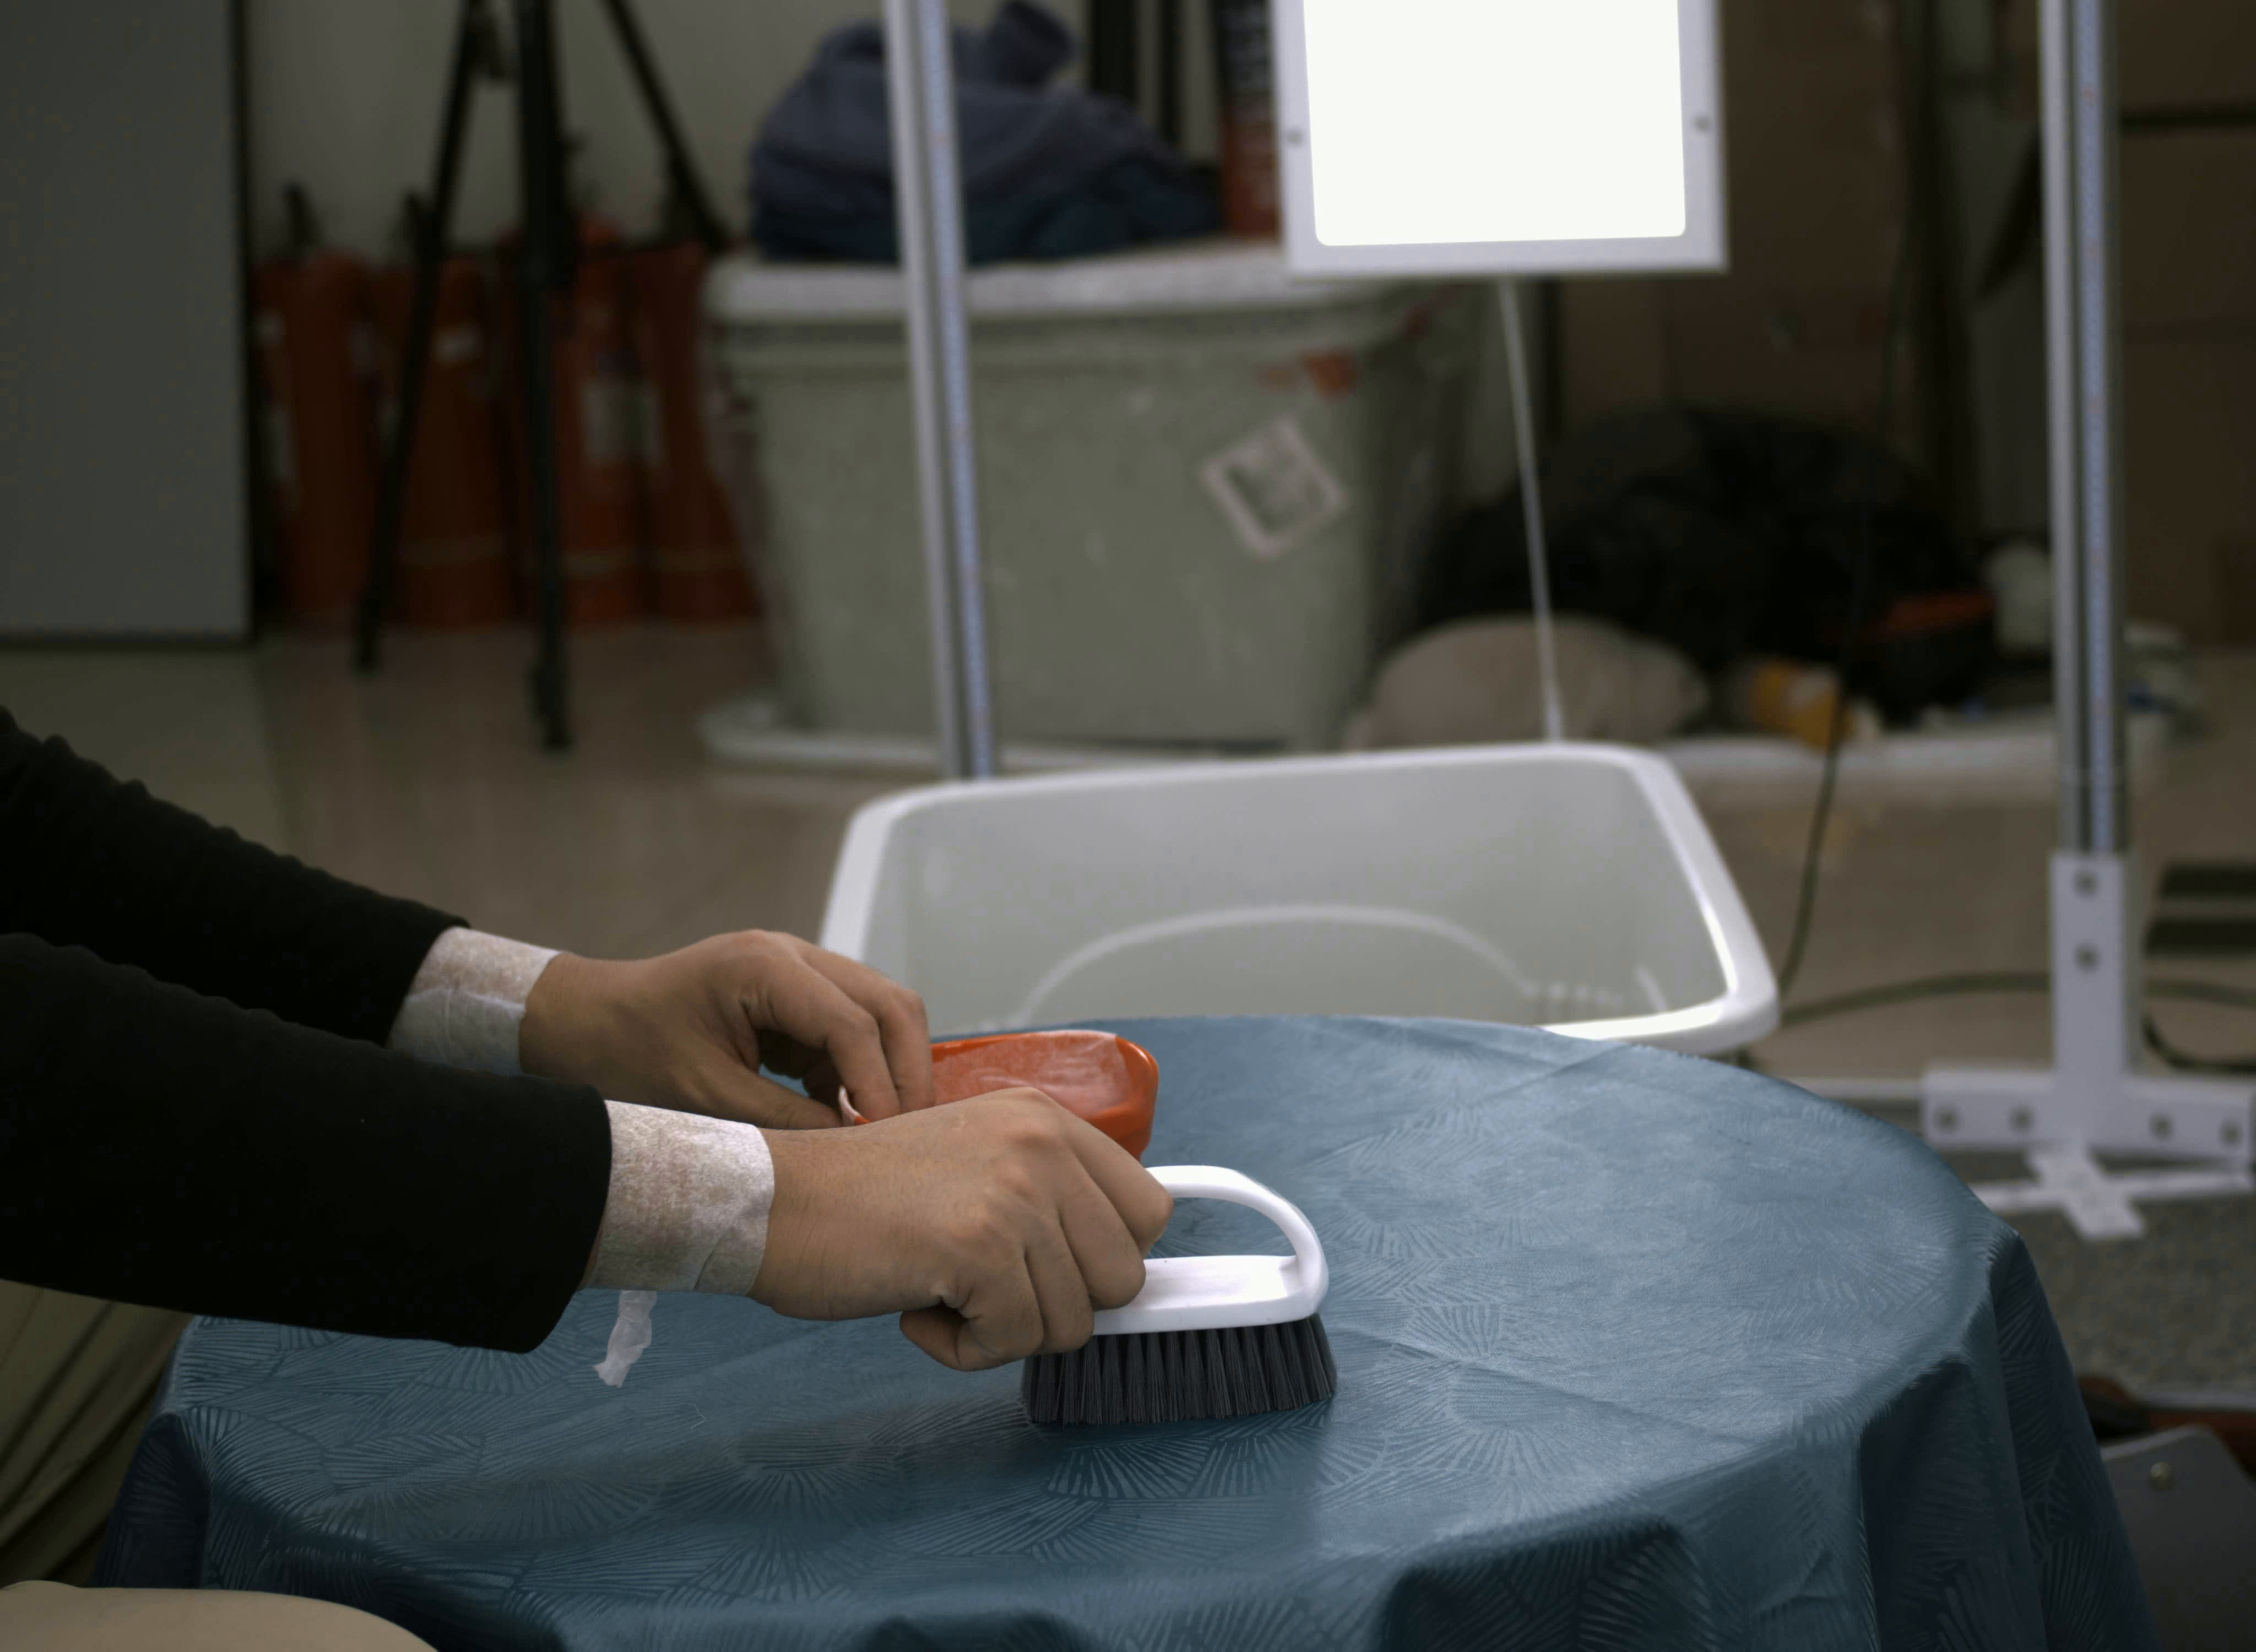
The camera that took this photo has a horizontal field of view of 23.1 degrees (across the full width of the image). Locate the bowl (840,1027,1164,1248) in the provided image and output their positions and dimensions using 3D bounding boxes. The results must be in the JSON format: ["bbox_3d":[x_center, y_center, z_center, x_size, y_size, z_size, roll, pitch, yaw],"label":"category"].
[{"bbox_3d":[-0.042,0.108,1.875,0.118,0.051,0.119,-2,15,-1],"label":"bowl"}]

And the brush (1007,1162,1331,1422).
[{"bbox_3d":[0.011,0.139,1.687,0.099,0.073,0.050,-3,14,5],"label":"brush"}]
